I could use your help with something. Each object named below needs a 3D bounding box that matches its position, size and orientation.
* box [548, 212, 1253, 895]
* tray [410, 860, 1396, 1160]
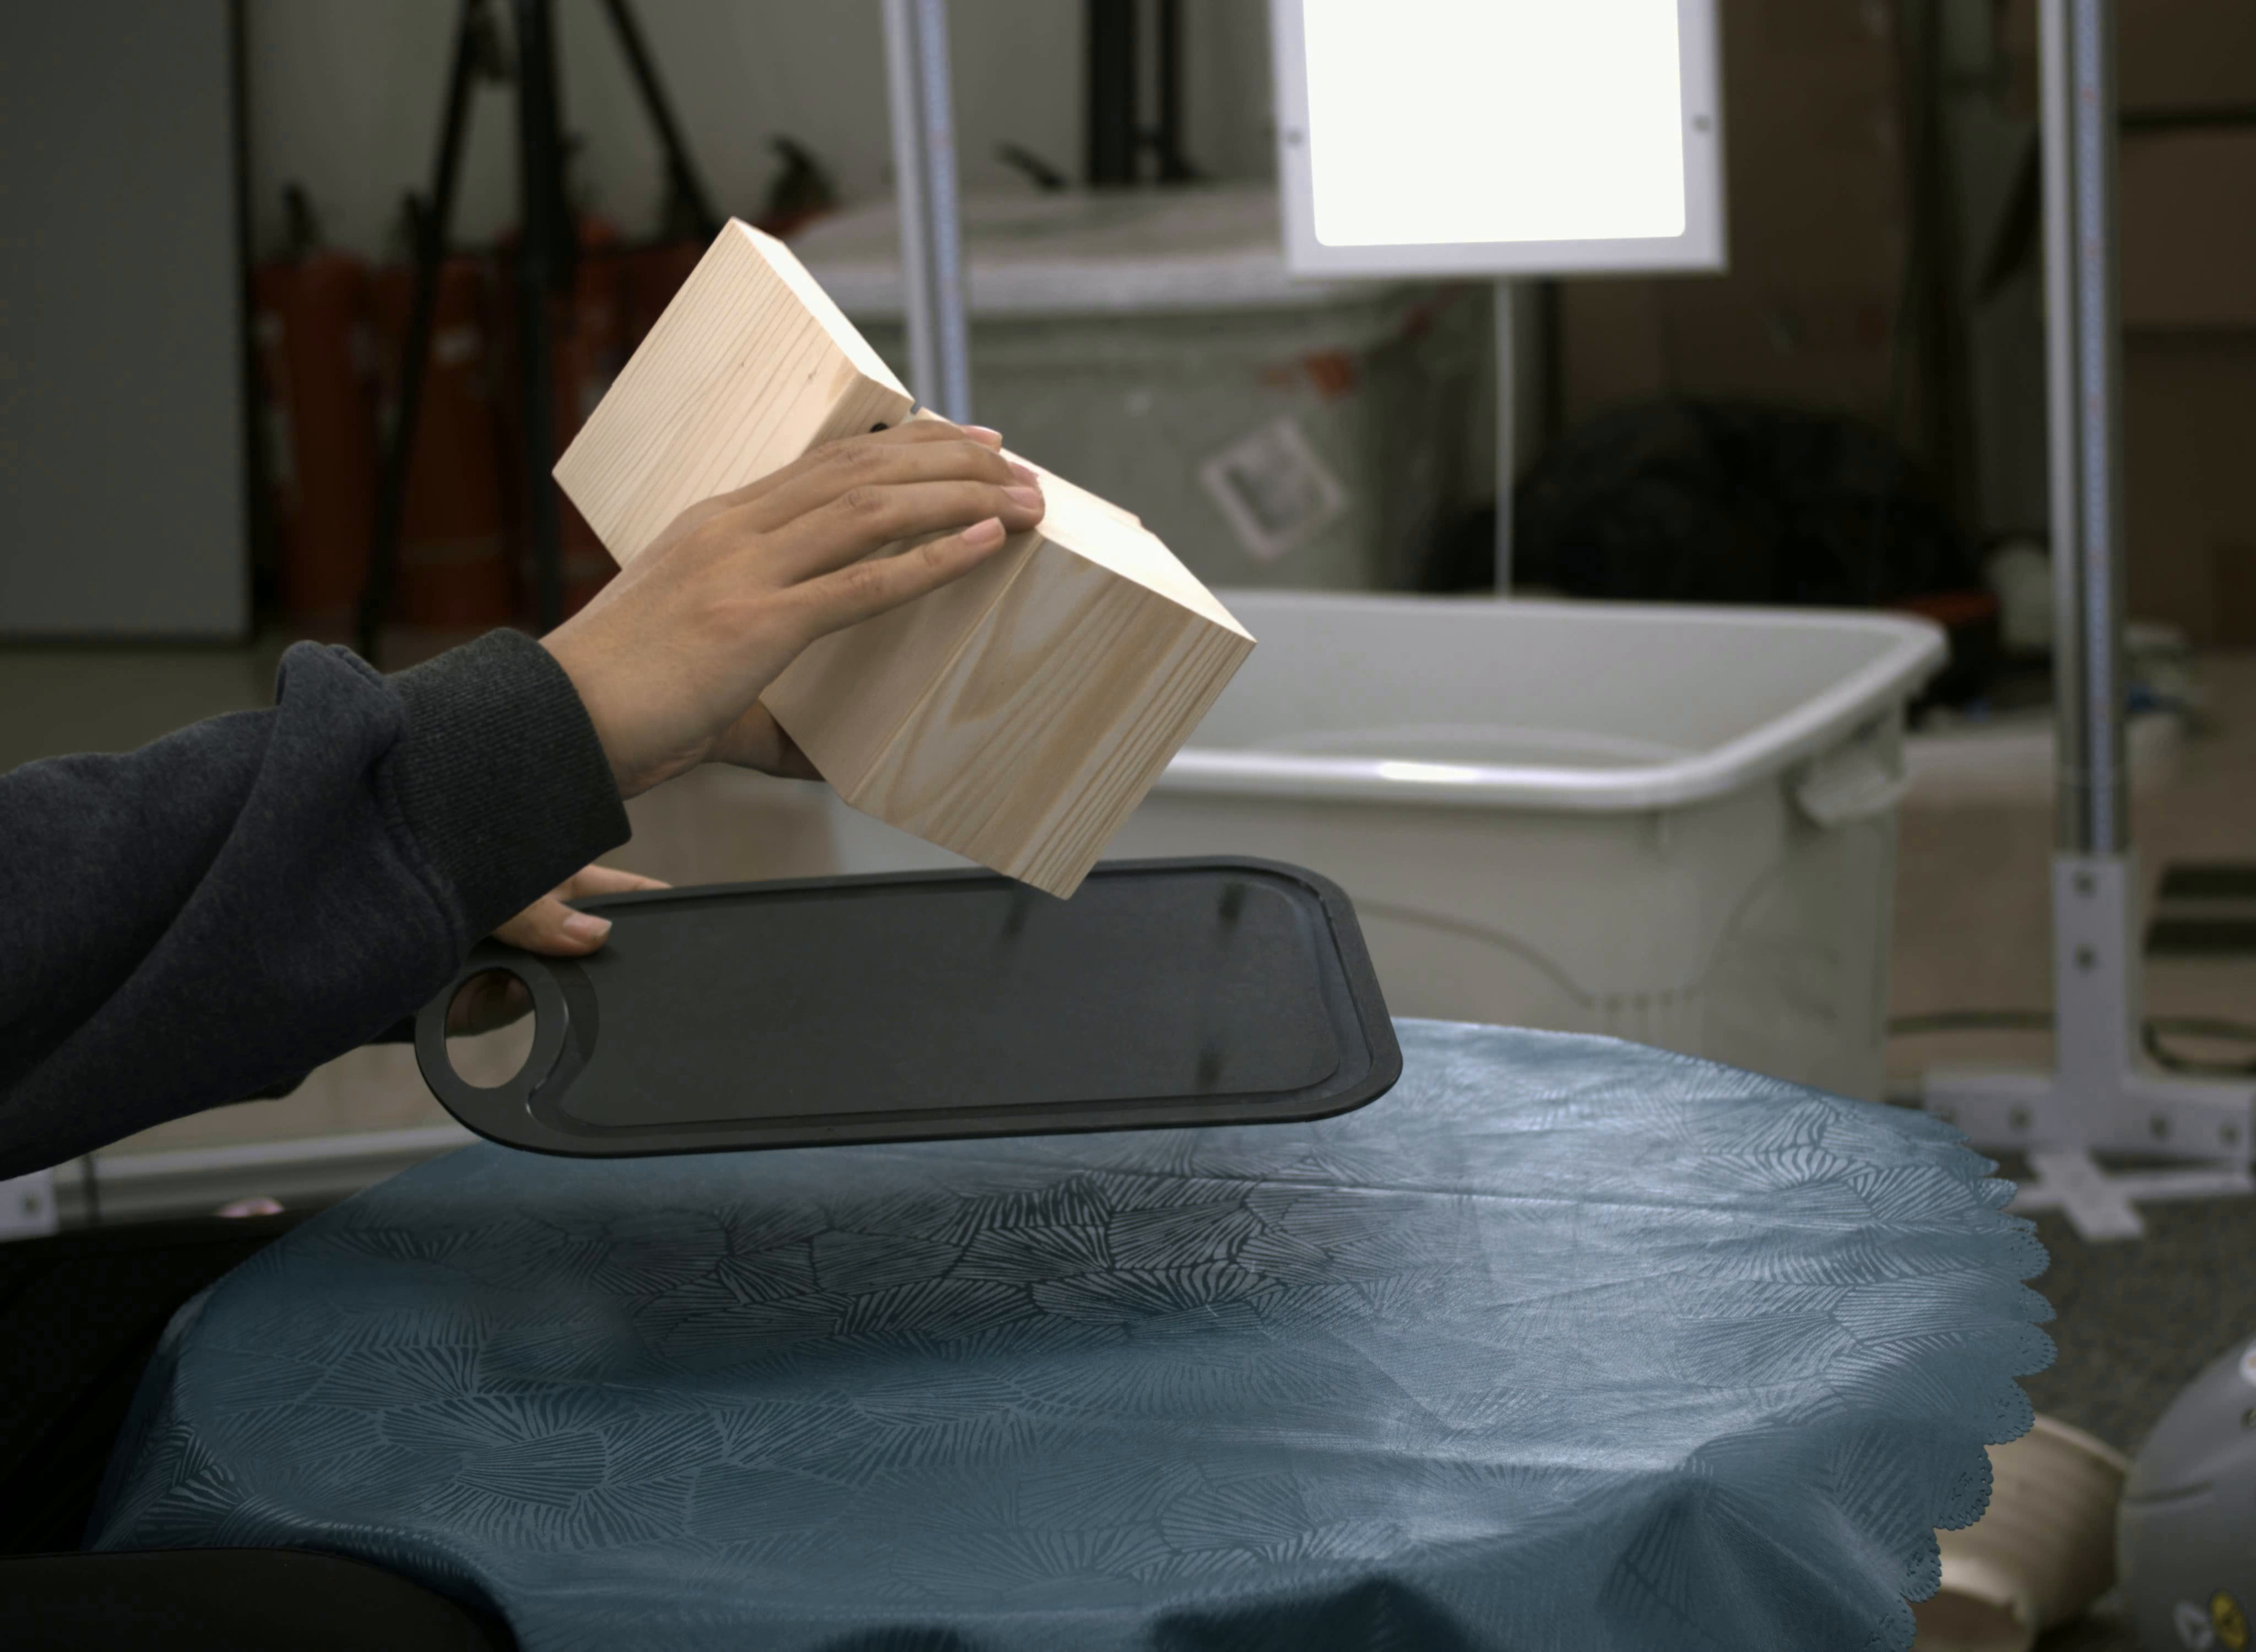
[{"bbox_3d":[-0.072,-0.085,1.702,0.131,0.103,0.186,23,19,-44],"label":"box"},{"bbox_3d":[-0.078,0.058,1.848,0.324,0.010,0.211,-3,23,-2],"label":"tray"}]
